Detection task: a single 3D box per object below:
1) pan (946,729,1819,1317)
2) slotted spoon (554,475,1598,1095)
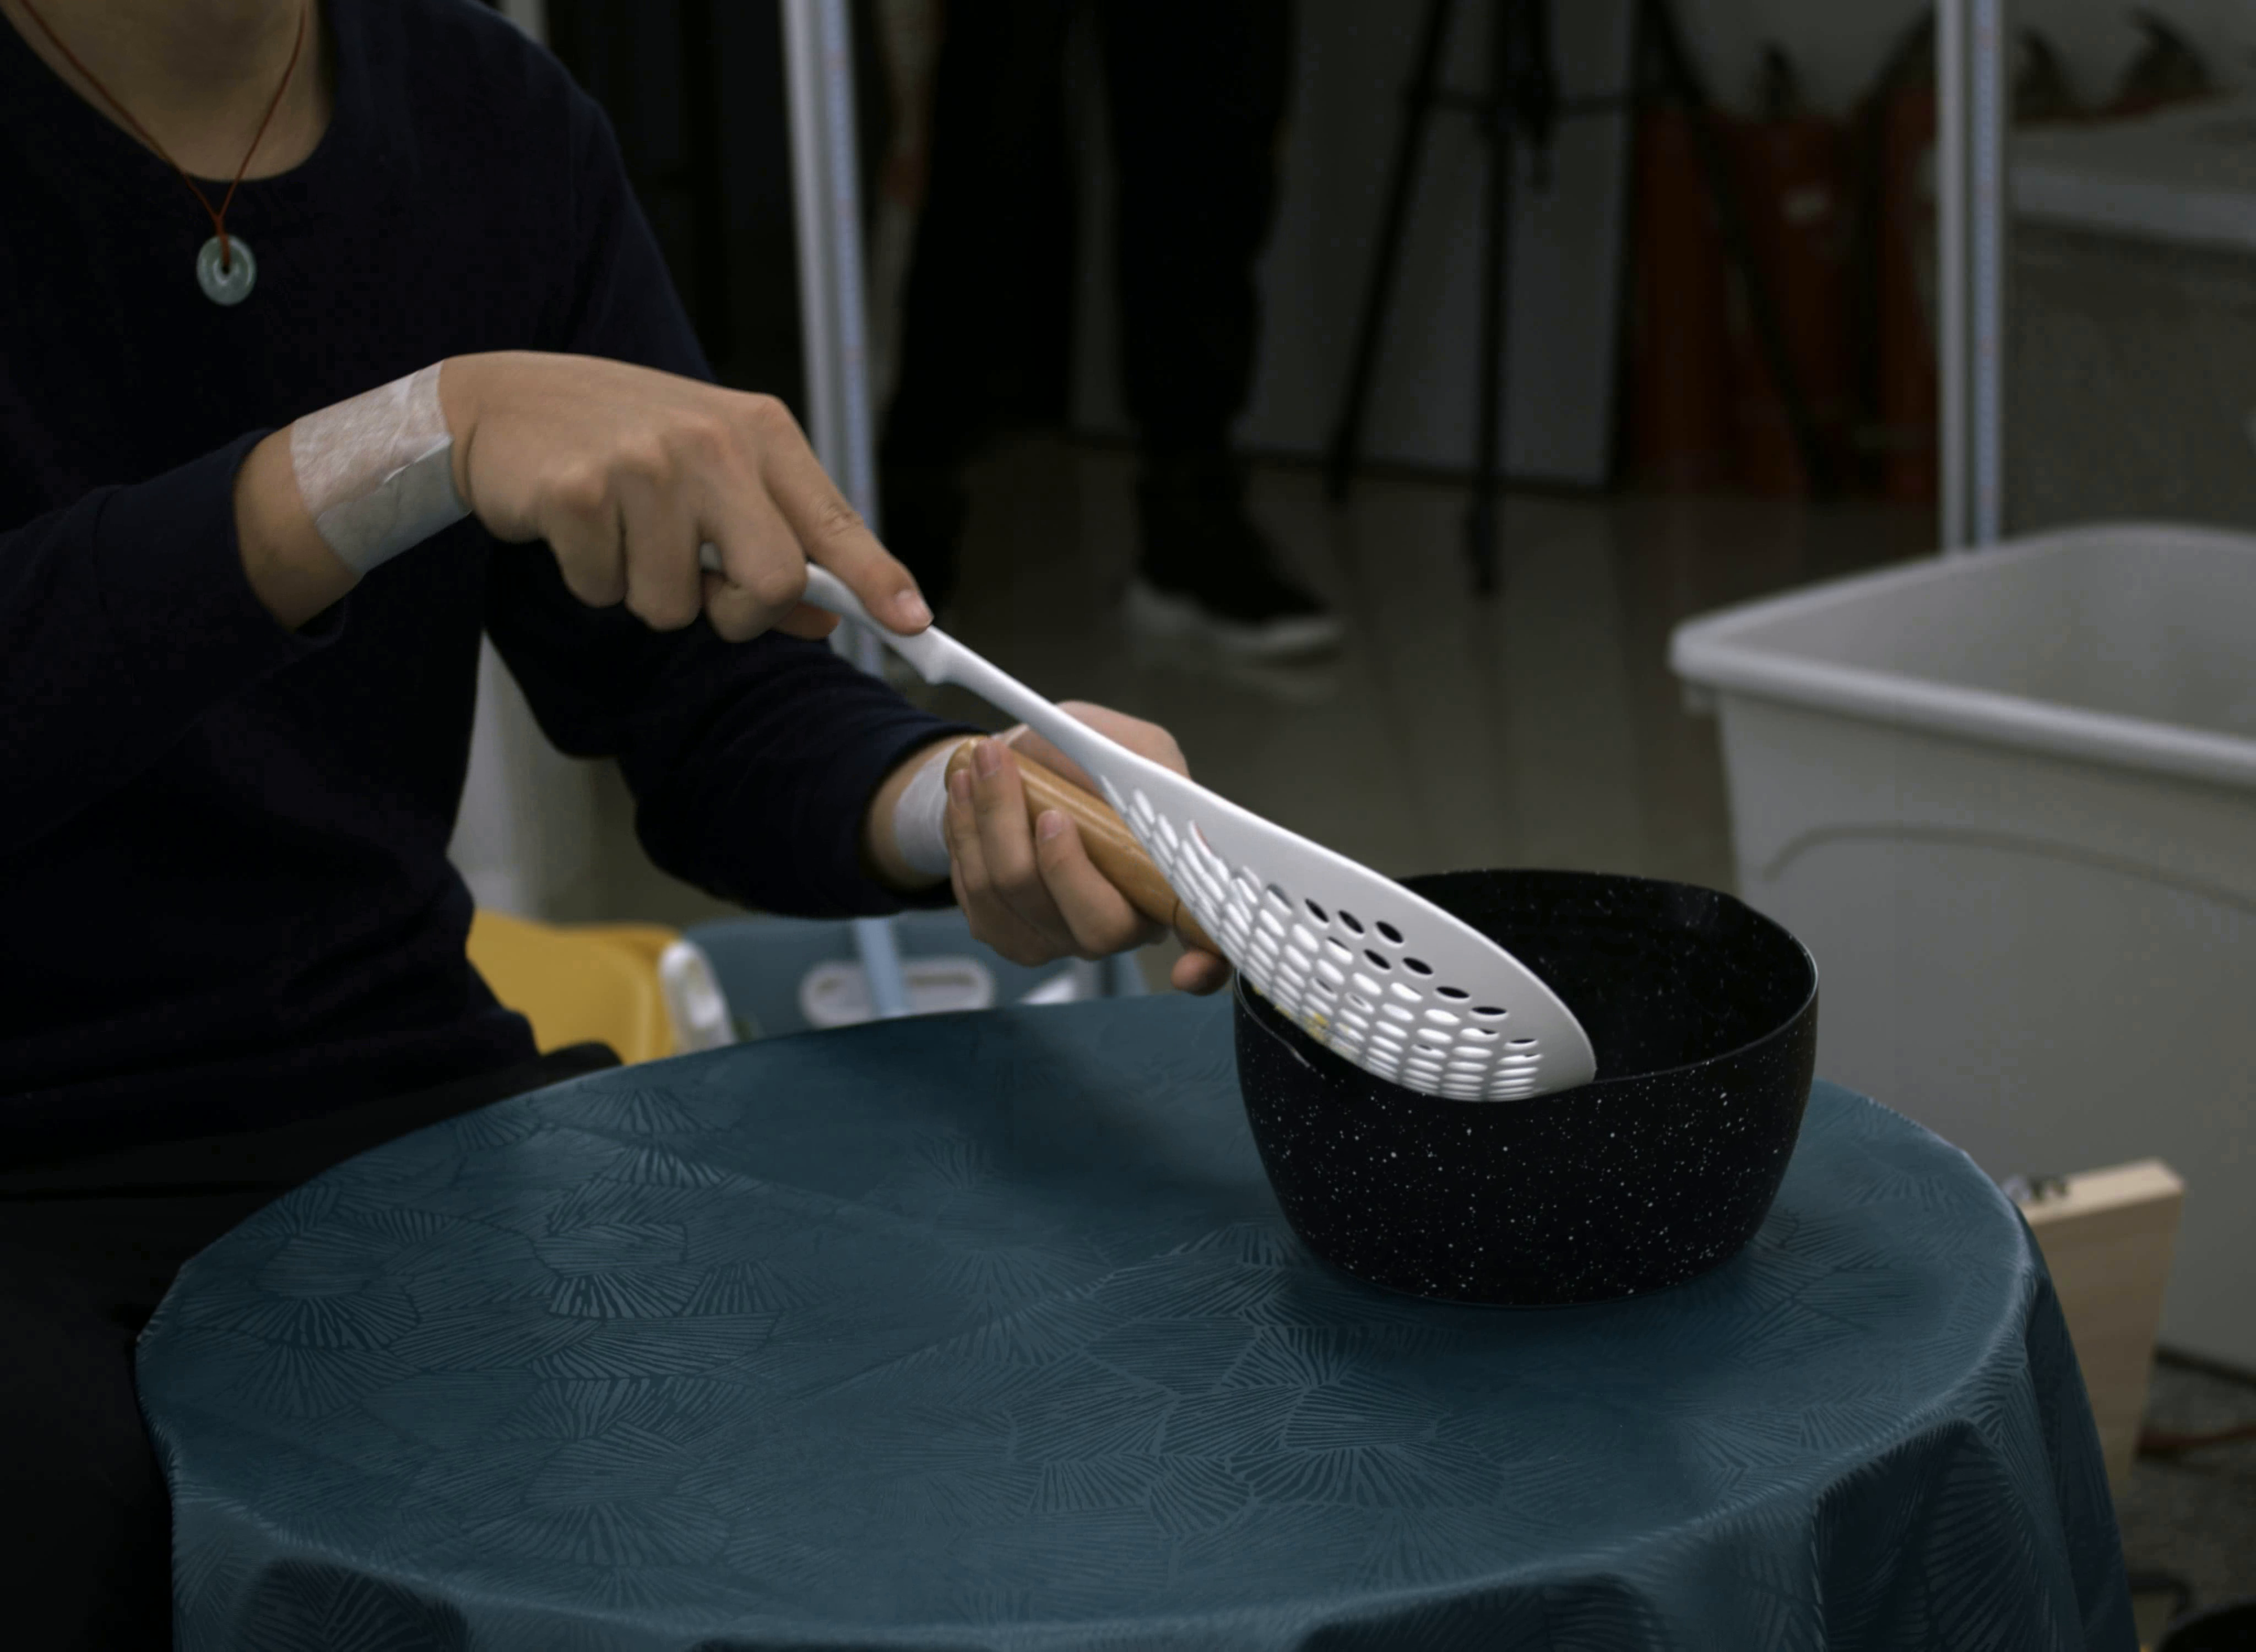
[{"bbox_3d":[0.066,0.056,1.734,0.346,0.109,0.203,16,27,41],"label":"pan"},{"bbox_3d":[-0.016,-0.017,1.569,0.348,0.050,0.136,36,-9,11],"label":"slotted spoon"}]
